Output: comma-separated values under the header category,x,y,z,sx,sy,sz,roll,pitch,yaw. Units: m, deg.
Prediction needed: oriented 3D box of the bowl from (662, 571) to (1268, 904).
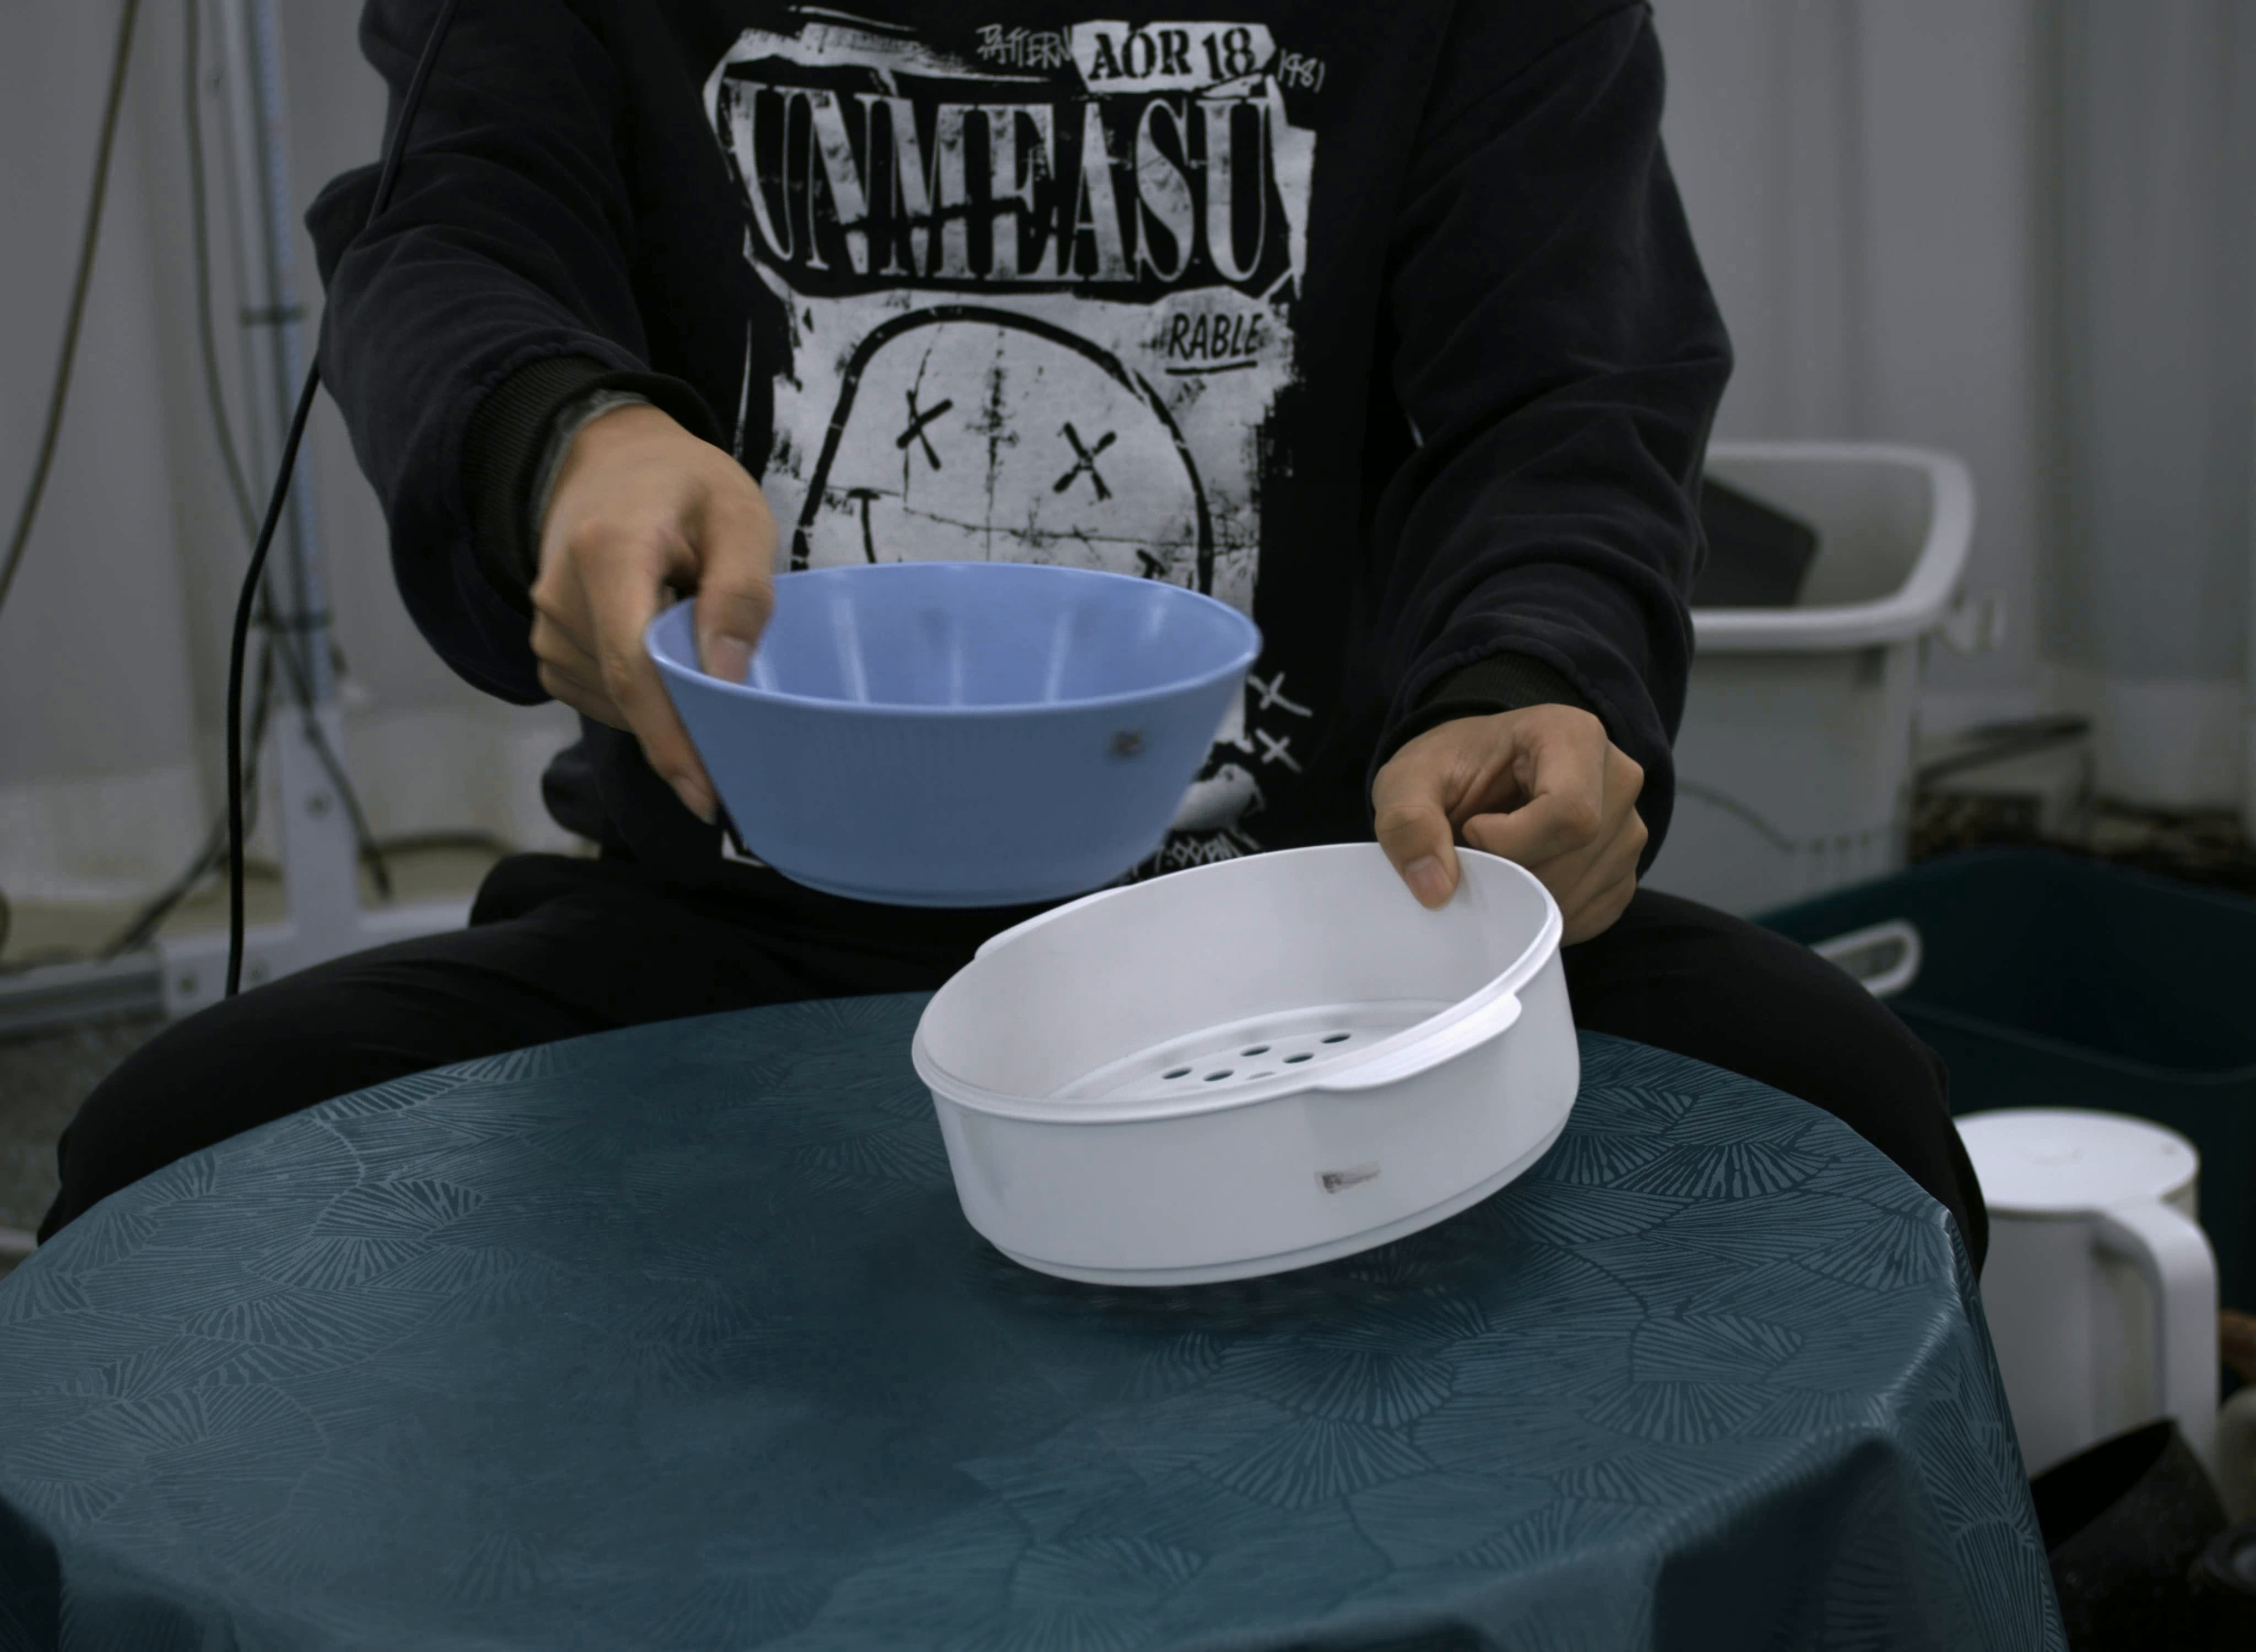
category,x,y,z,sx,sy,sz,roll,pitch,yaw
bowl,-0.047,-0.024,1.582,0.175,0.070,0.177,1,15,-1

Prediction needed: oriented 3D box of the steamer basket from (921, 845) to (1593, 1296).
category,x,y,z,sx,sy,sz,roll,pitch,yaw
steamer basket,0.041,0.073,1.650,0.202,0.069,0.232,-22,22,-28
